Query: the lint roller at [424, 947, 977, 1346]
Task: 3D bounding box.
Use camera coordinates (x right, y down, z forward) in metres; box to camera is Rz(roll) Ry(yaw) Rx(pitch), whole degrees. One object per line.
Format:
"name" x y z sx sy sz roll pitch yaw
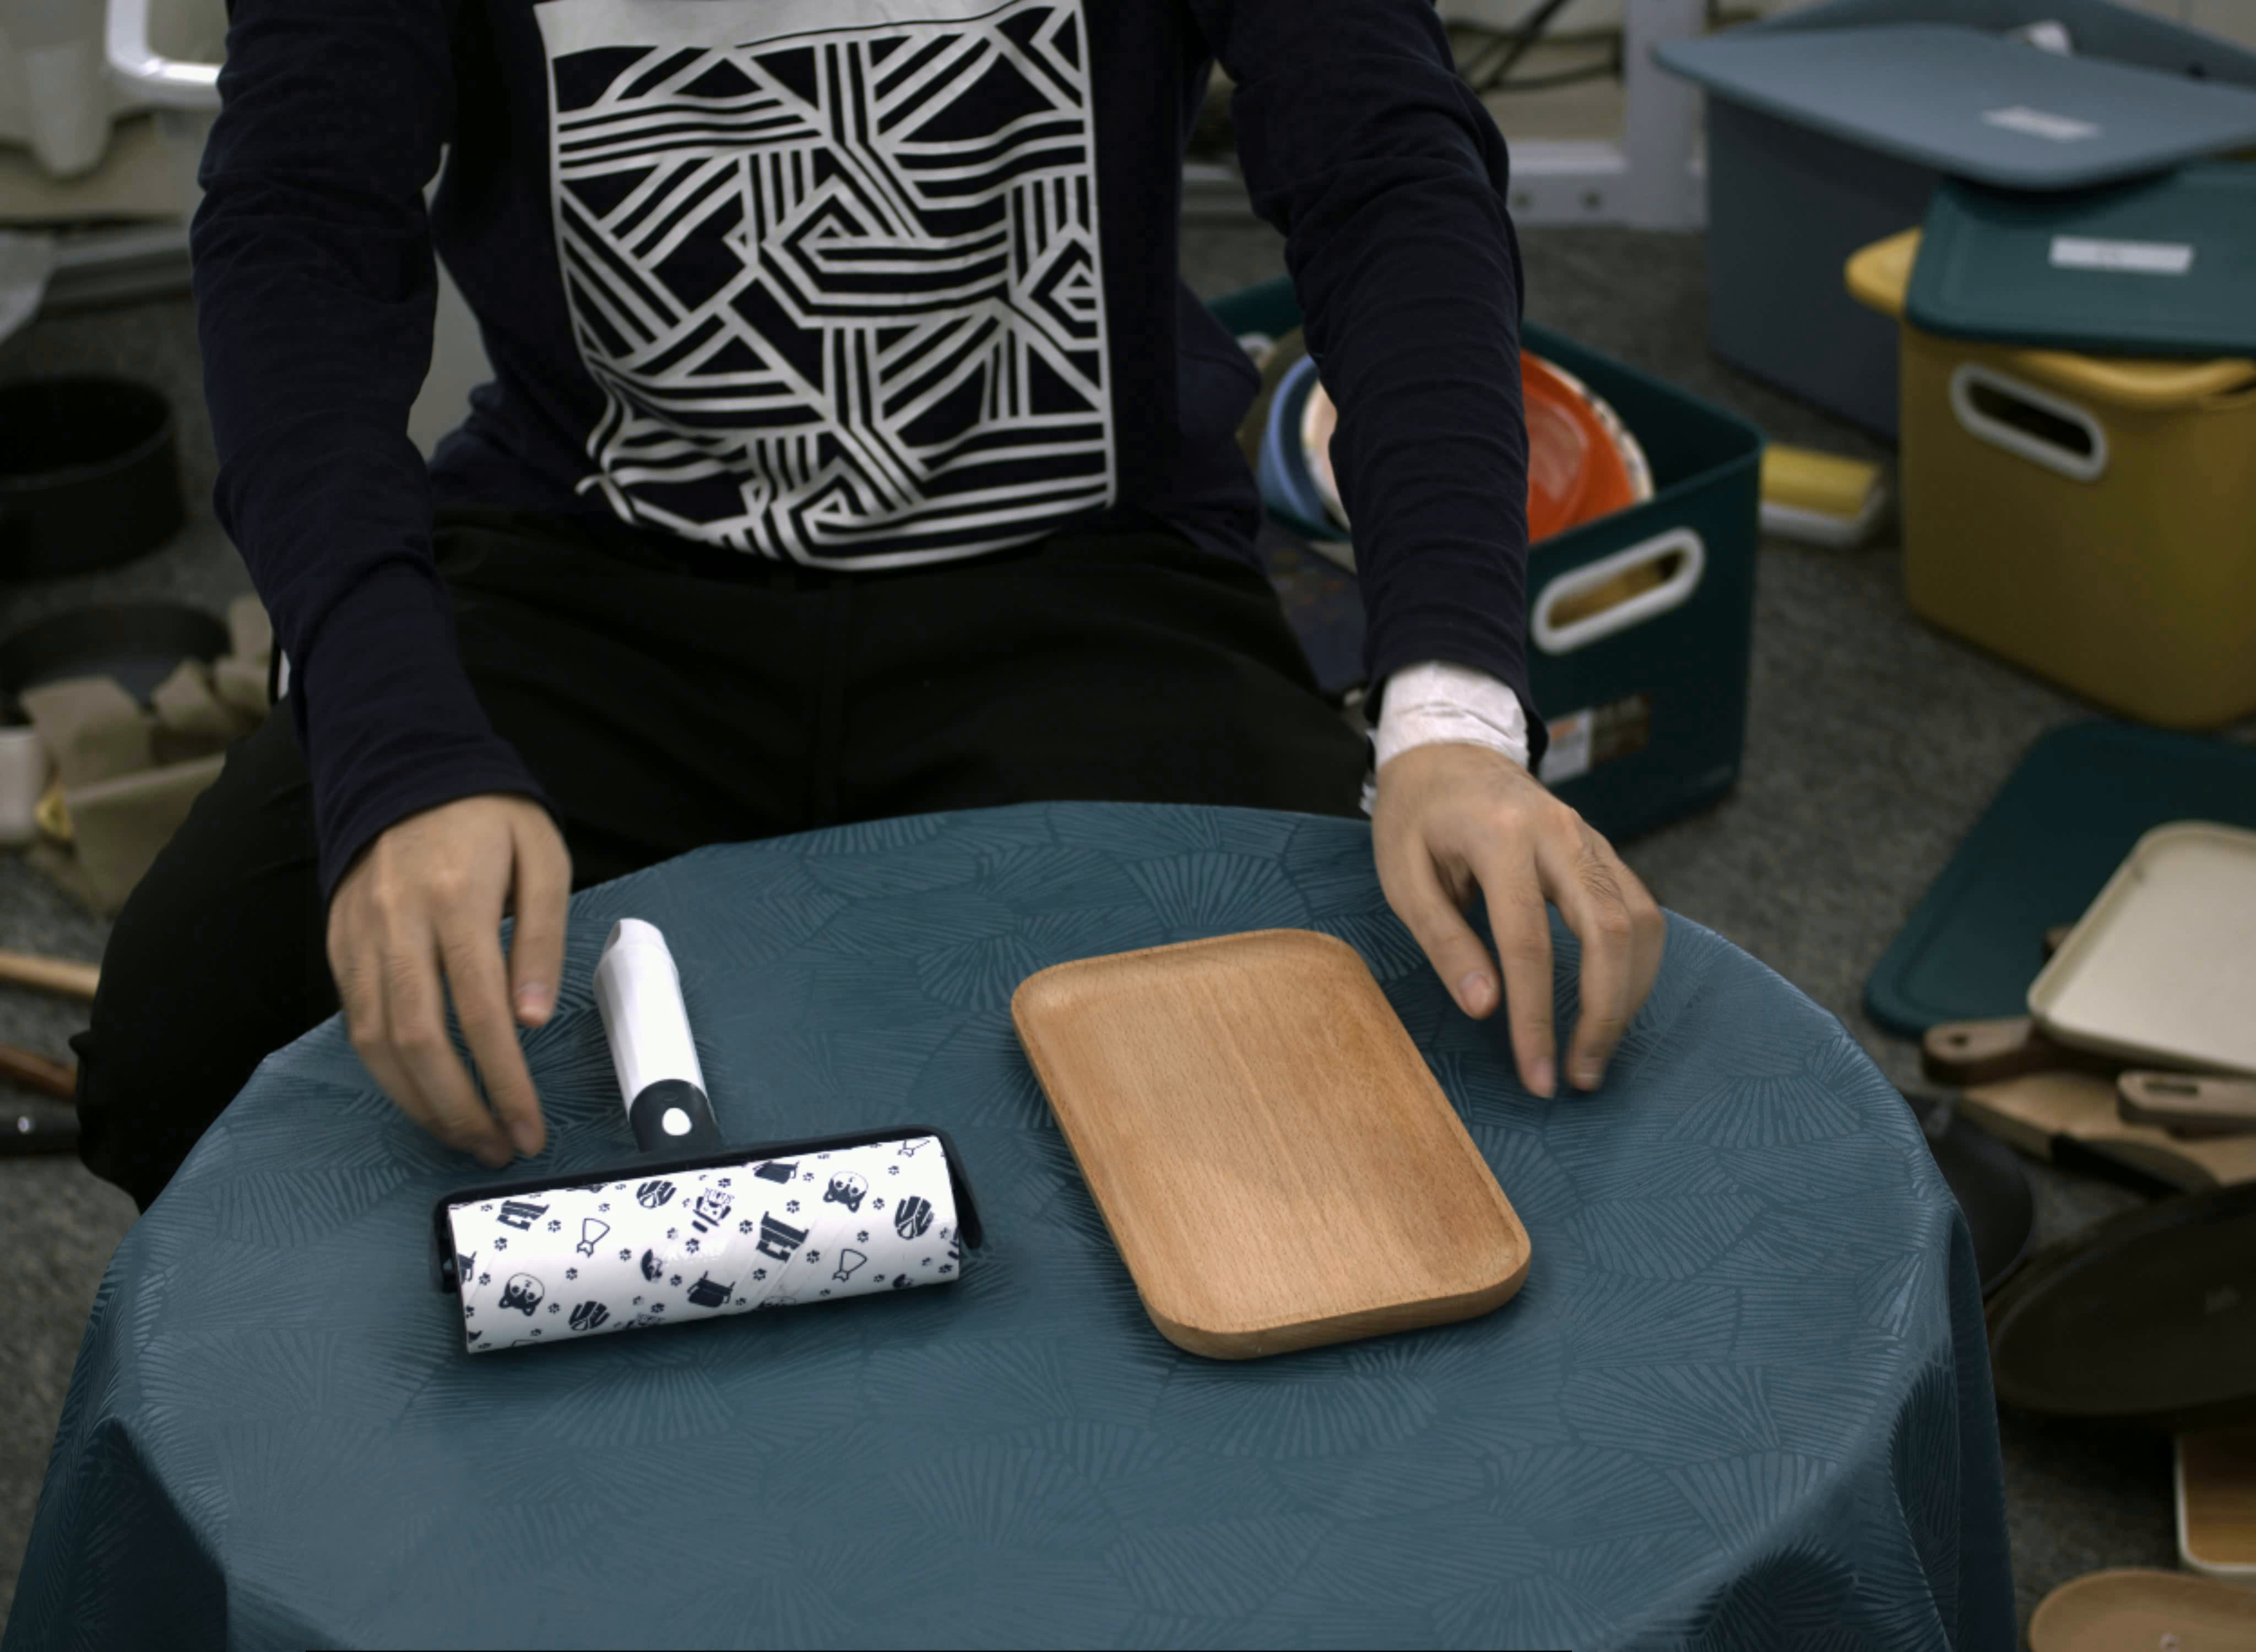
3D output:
"lint roller" -0.157 0.093 1.890 0.176 0.050 0.249 -8 25 -9

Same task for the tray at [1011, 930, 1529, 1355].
"tray" 0.044 0.103 1.877 0.130 0.022 0.253 -5 26 -11
